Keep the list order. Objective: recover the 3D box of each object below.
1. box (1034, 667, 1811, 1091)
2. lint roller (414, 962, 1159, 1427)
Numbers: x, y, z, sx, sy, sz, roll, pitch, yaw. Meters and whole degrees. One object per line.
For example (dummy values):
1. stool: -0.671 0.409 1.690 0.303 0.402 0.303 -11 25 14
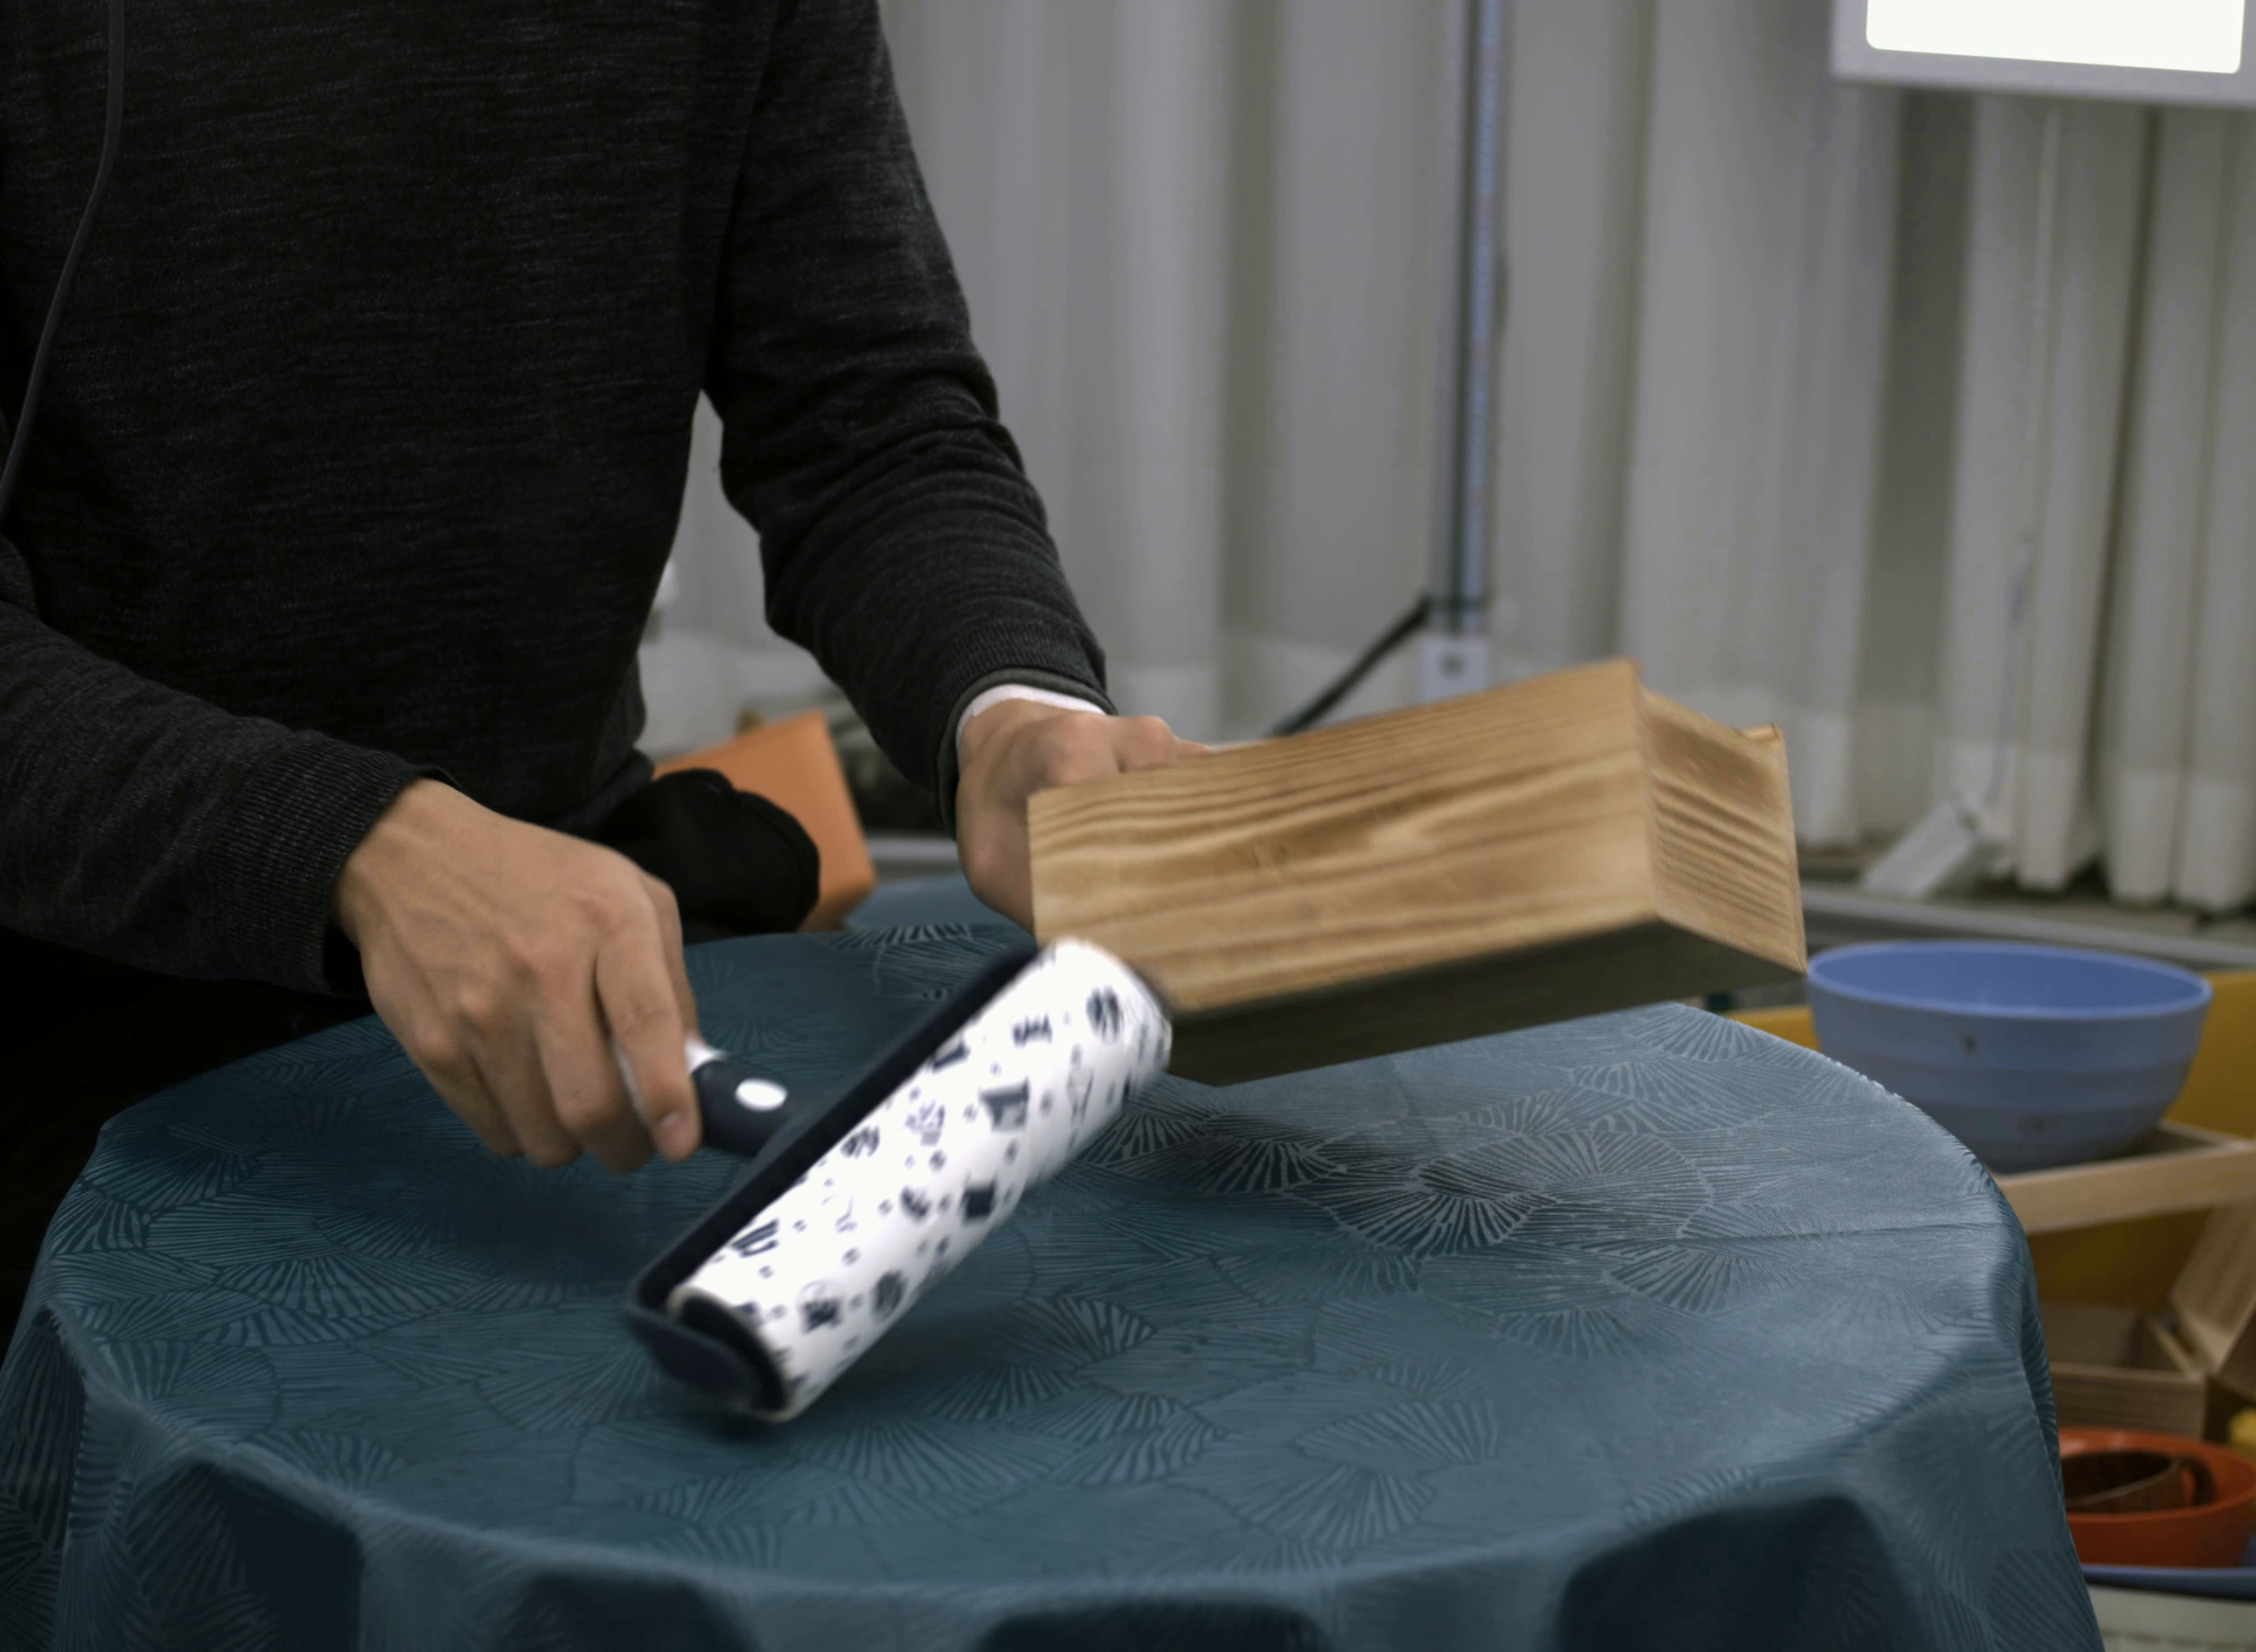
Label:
1. box: 0.089 0.020 1.616 0.209 0.080 0.108 -12 -16 27
2. lint roller: -0.131 0.079 1.527 0.243 0.051 0.176 18 46 41
